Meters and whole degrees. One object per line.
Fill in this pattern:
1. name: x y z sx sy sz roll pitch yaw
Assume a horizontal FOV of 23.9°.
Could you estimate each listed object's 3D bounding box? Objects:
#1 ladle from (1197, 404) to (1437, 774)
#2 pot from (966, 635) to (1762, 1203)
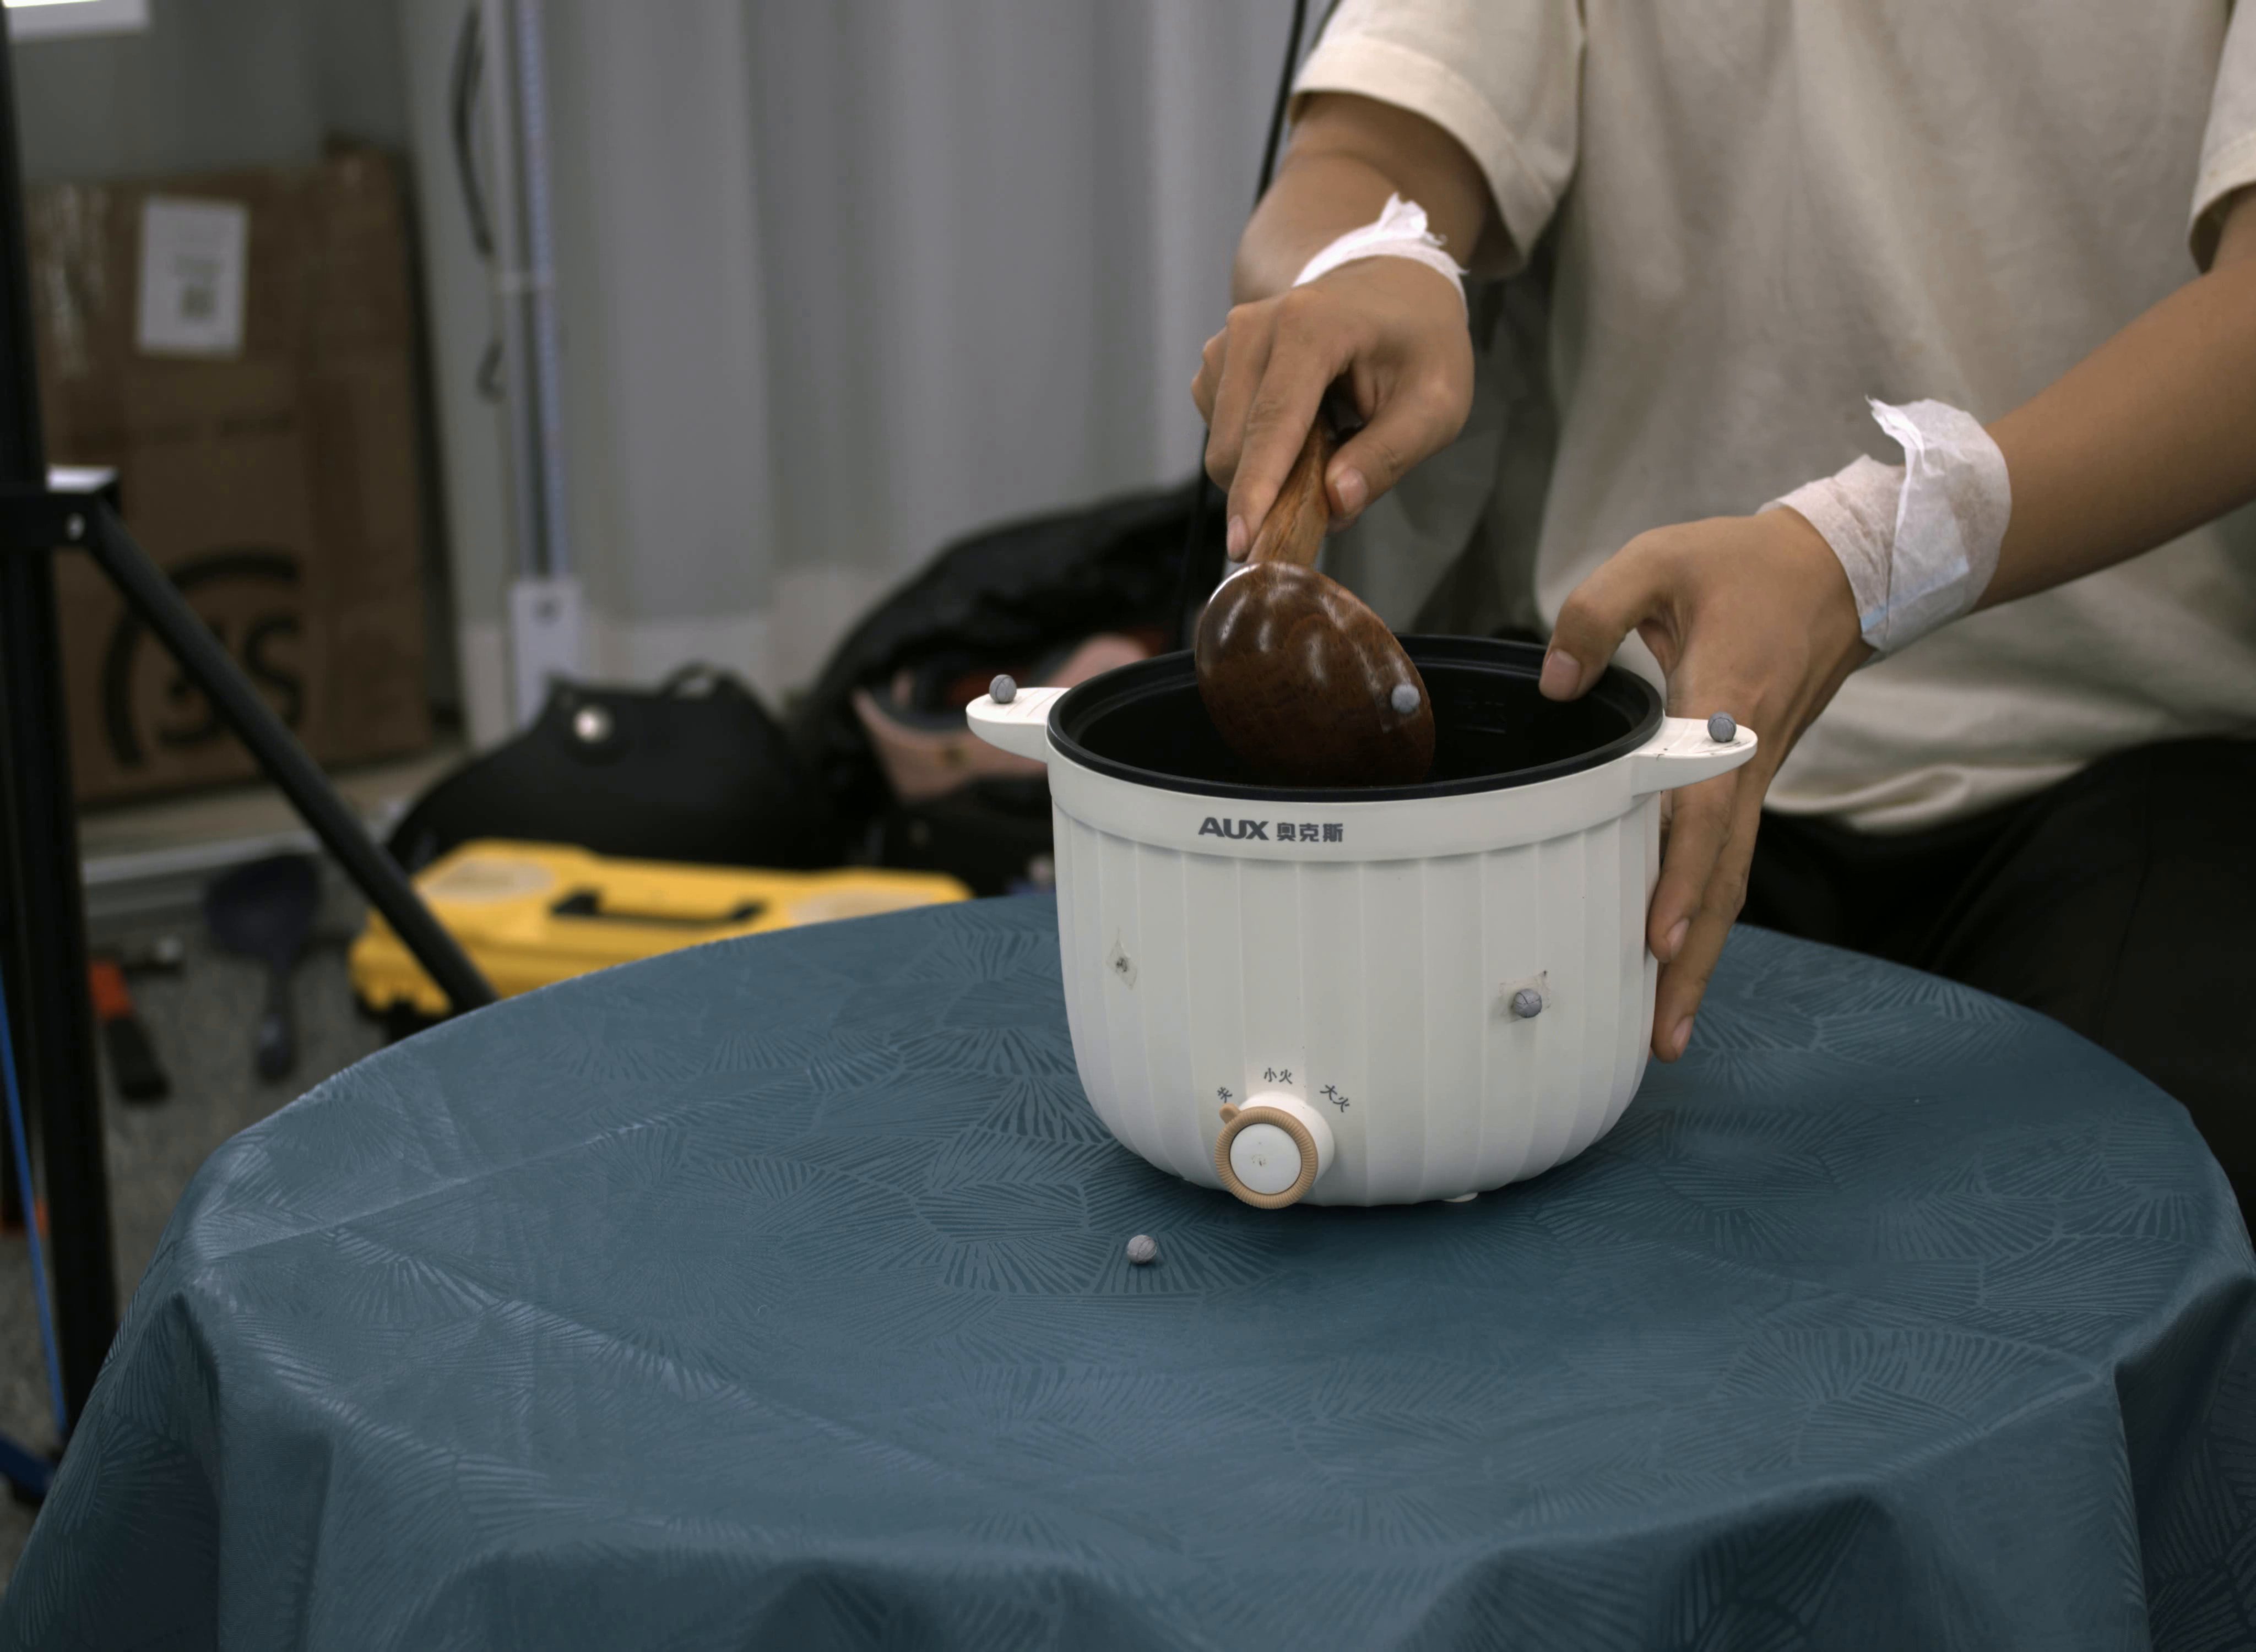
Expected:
1. ladle: 0.069 -0.084 1.605 0.077 0.081 0.273 -14 21 16
2. pot: 0.068 0.030 1.566 0.243 0.143 0.188 2 12 19
